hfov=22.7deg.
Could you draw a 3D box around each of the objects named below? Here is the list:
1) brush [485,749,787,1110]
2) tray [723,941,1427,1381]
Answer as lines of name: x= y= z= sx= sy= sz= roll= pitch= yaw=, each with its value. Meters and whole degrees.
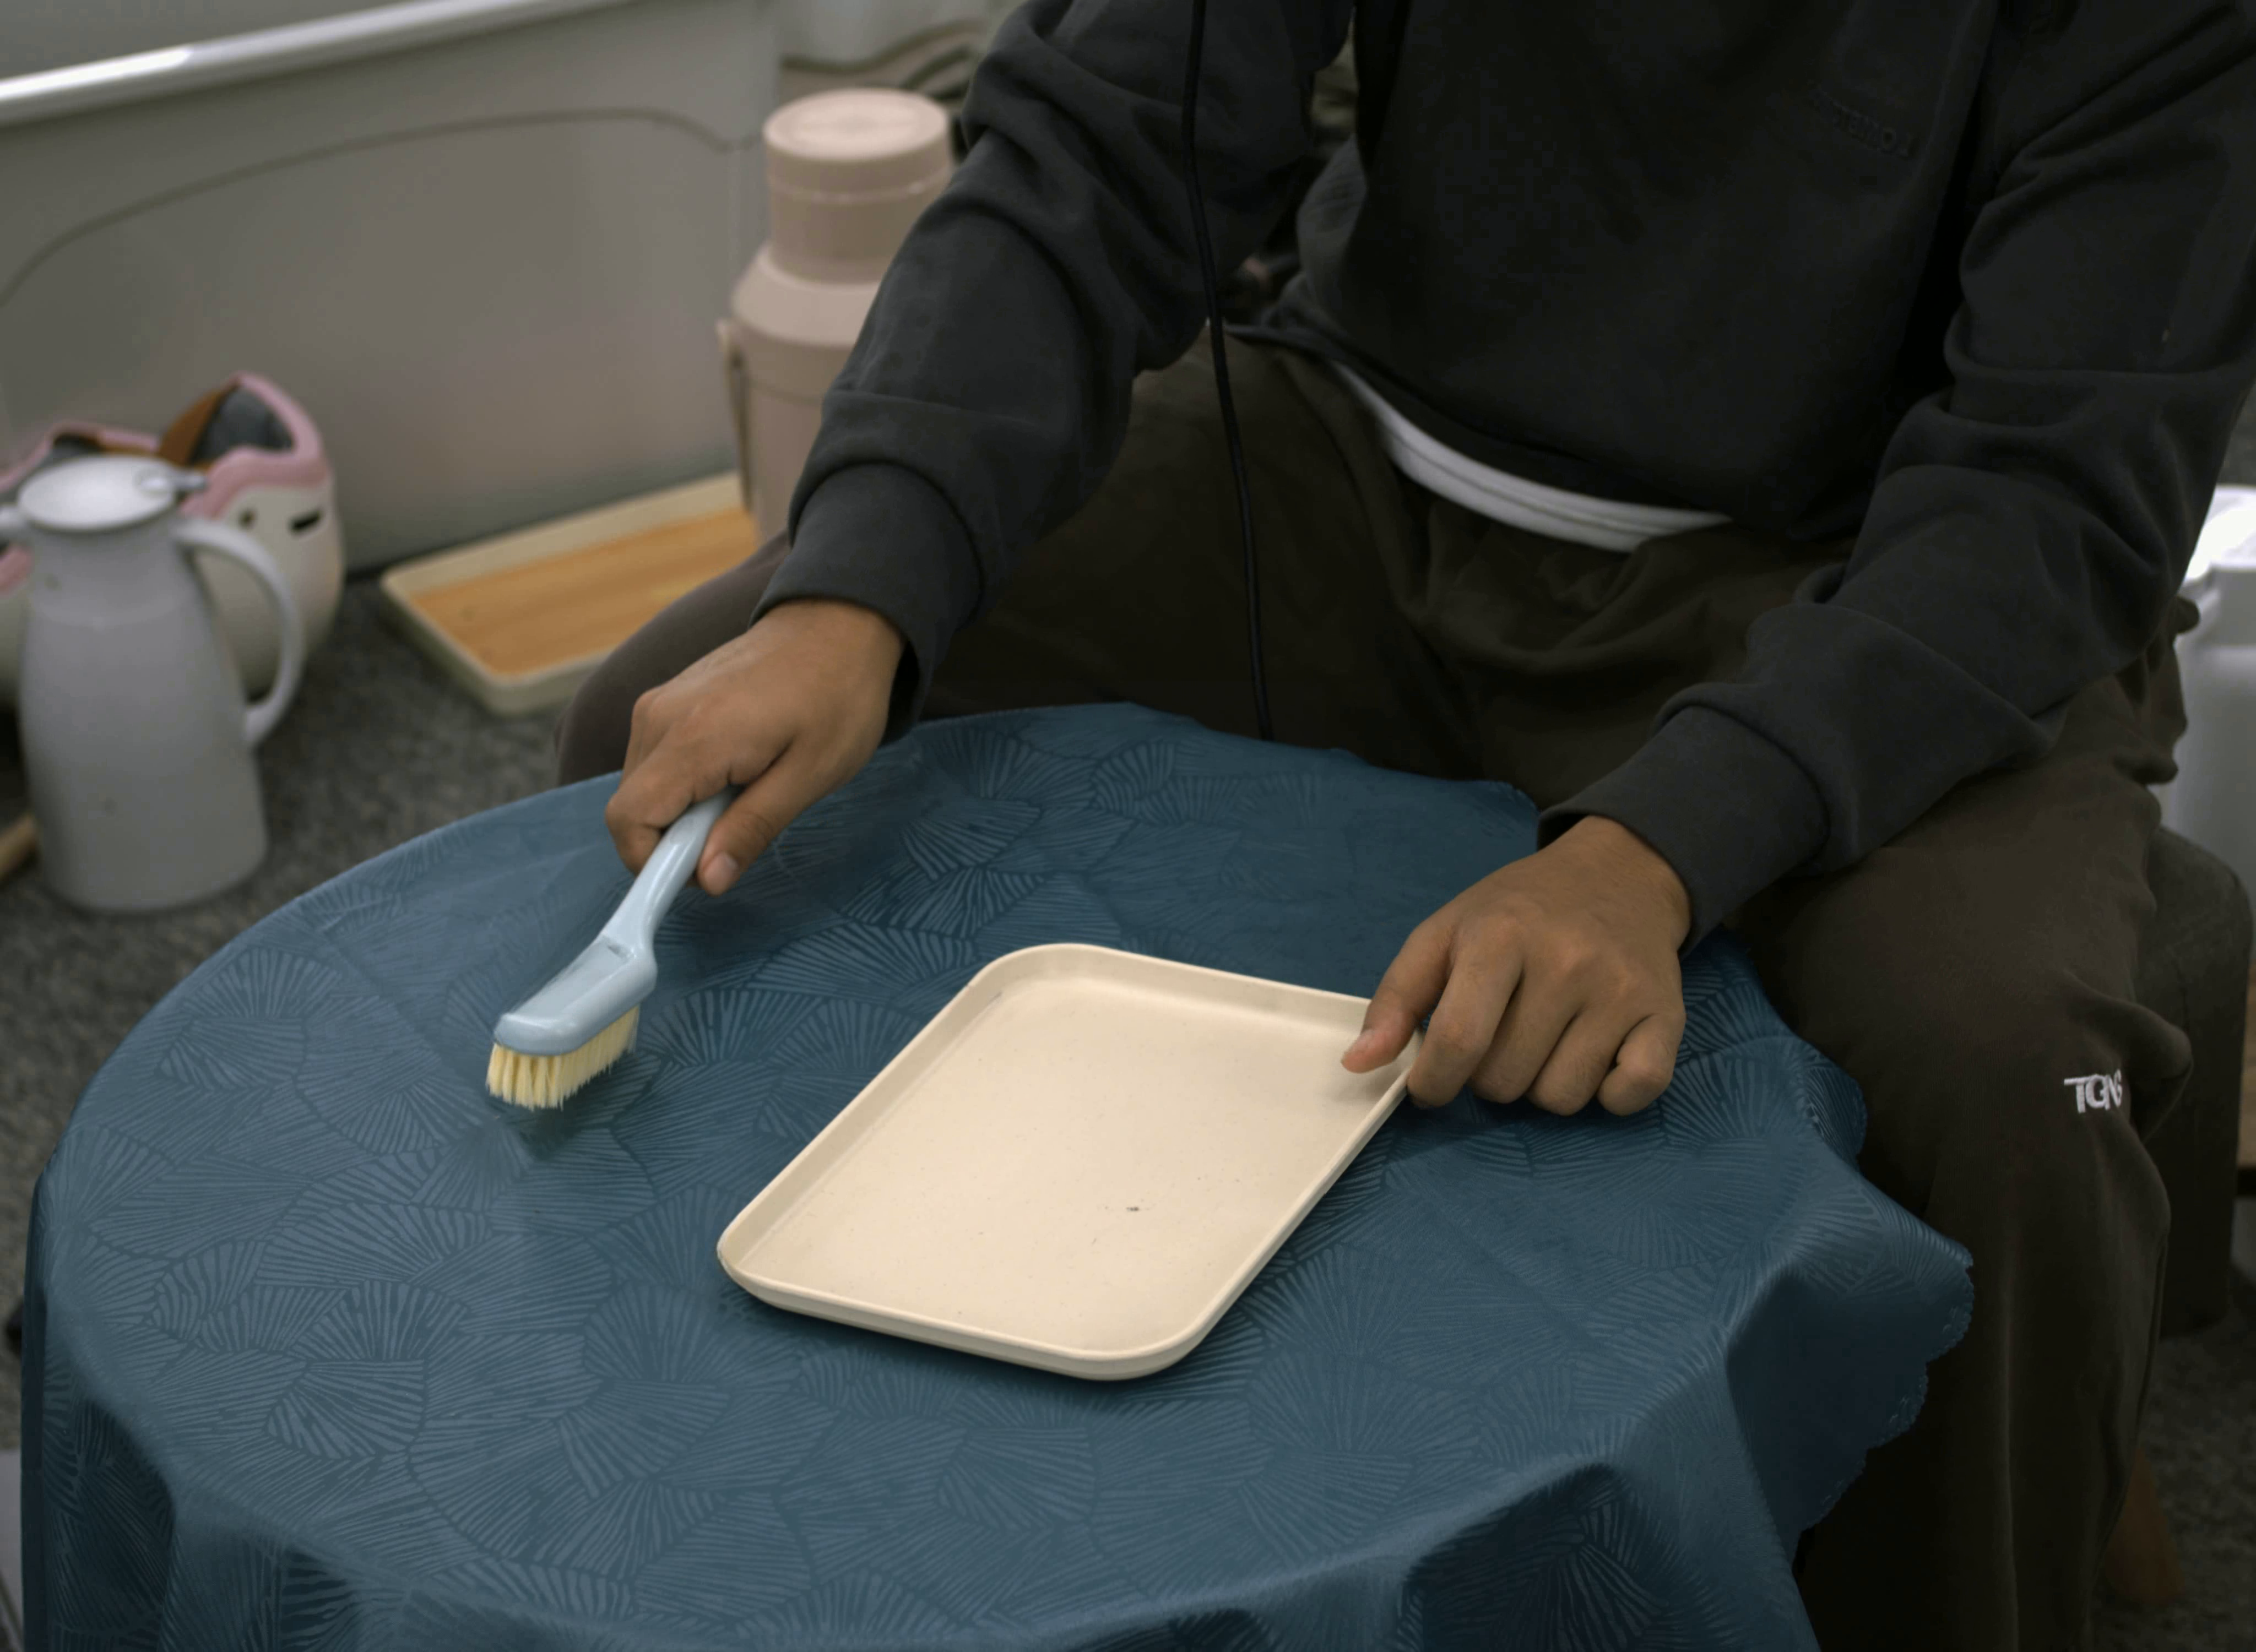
brush: x=-0.171 y=0.034 z=1.989 sx=0.037 sy=0.049 sz=0.233 roll=12 pitch=32 yaw=13
tray: x=-0.014 y=0.110 z=1.869 sx=0.170 sy=0.017 sz=0.243 roll=11 pitch=30 yaw=23
